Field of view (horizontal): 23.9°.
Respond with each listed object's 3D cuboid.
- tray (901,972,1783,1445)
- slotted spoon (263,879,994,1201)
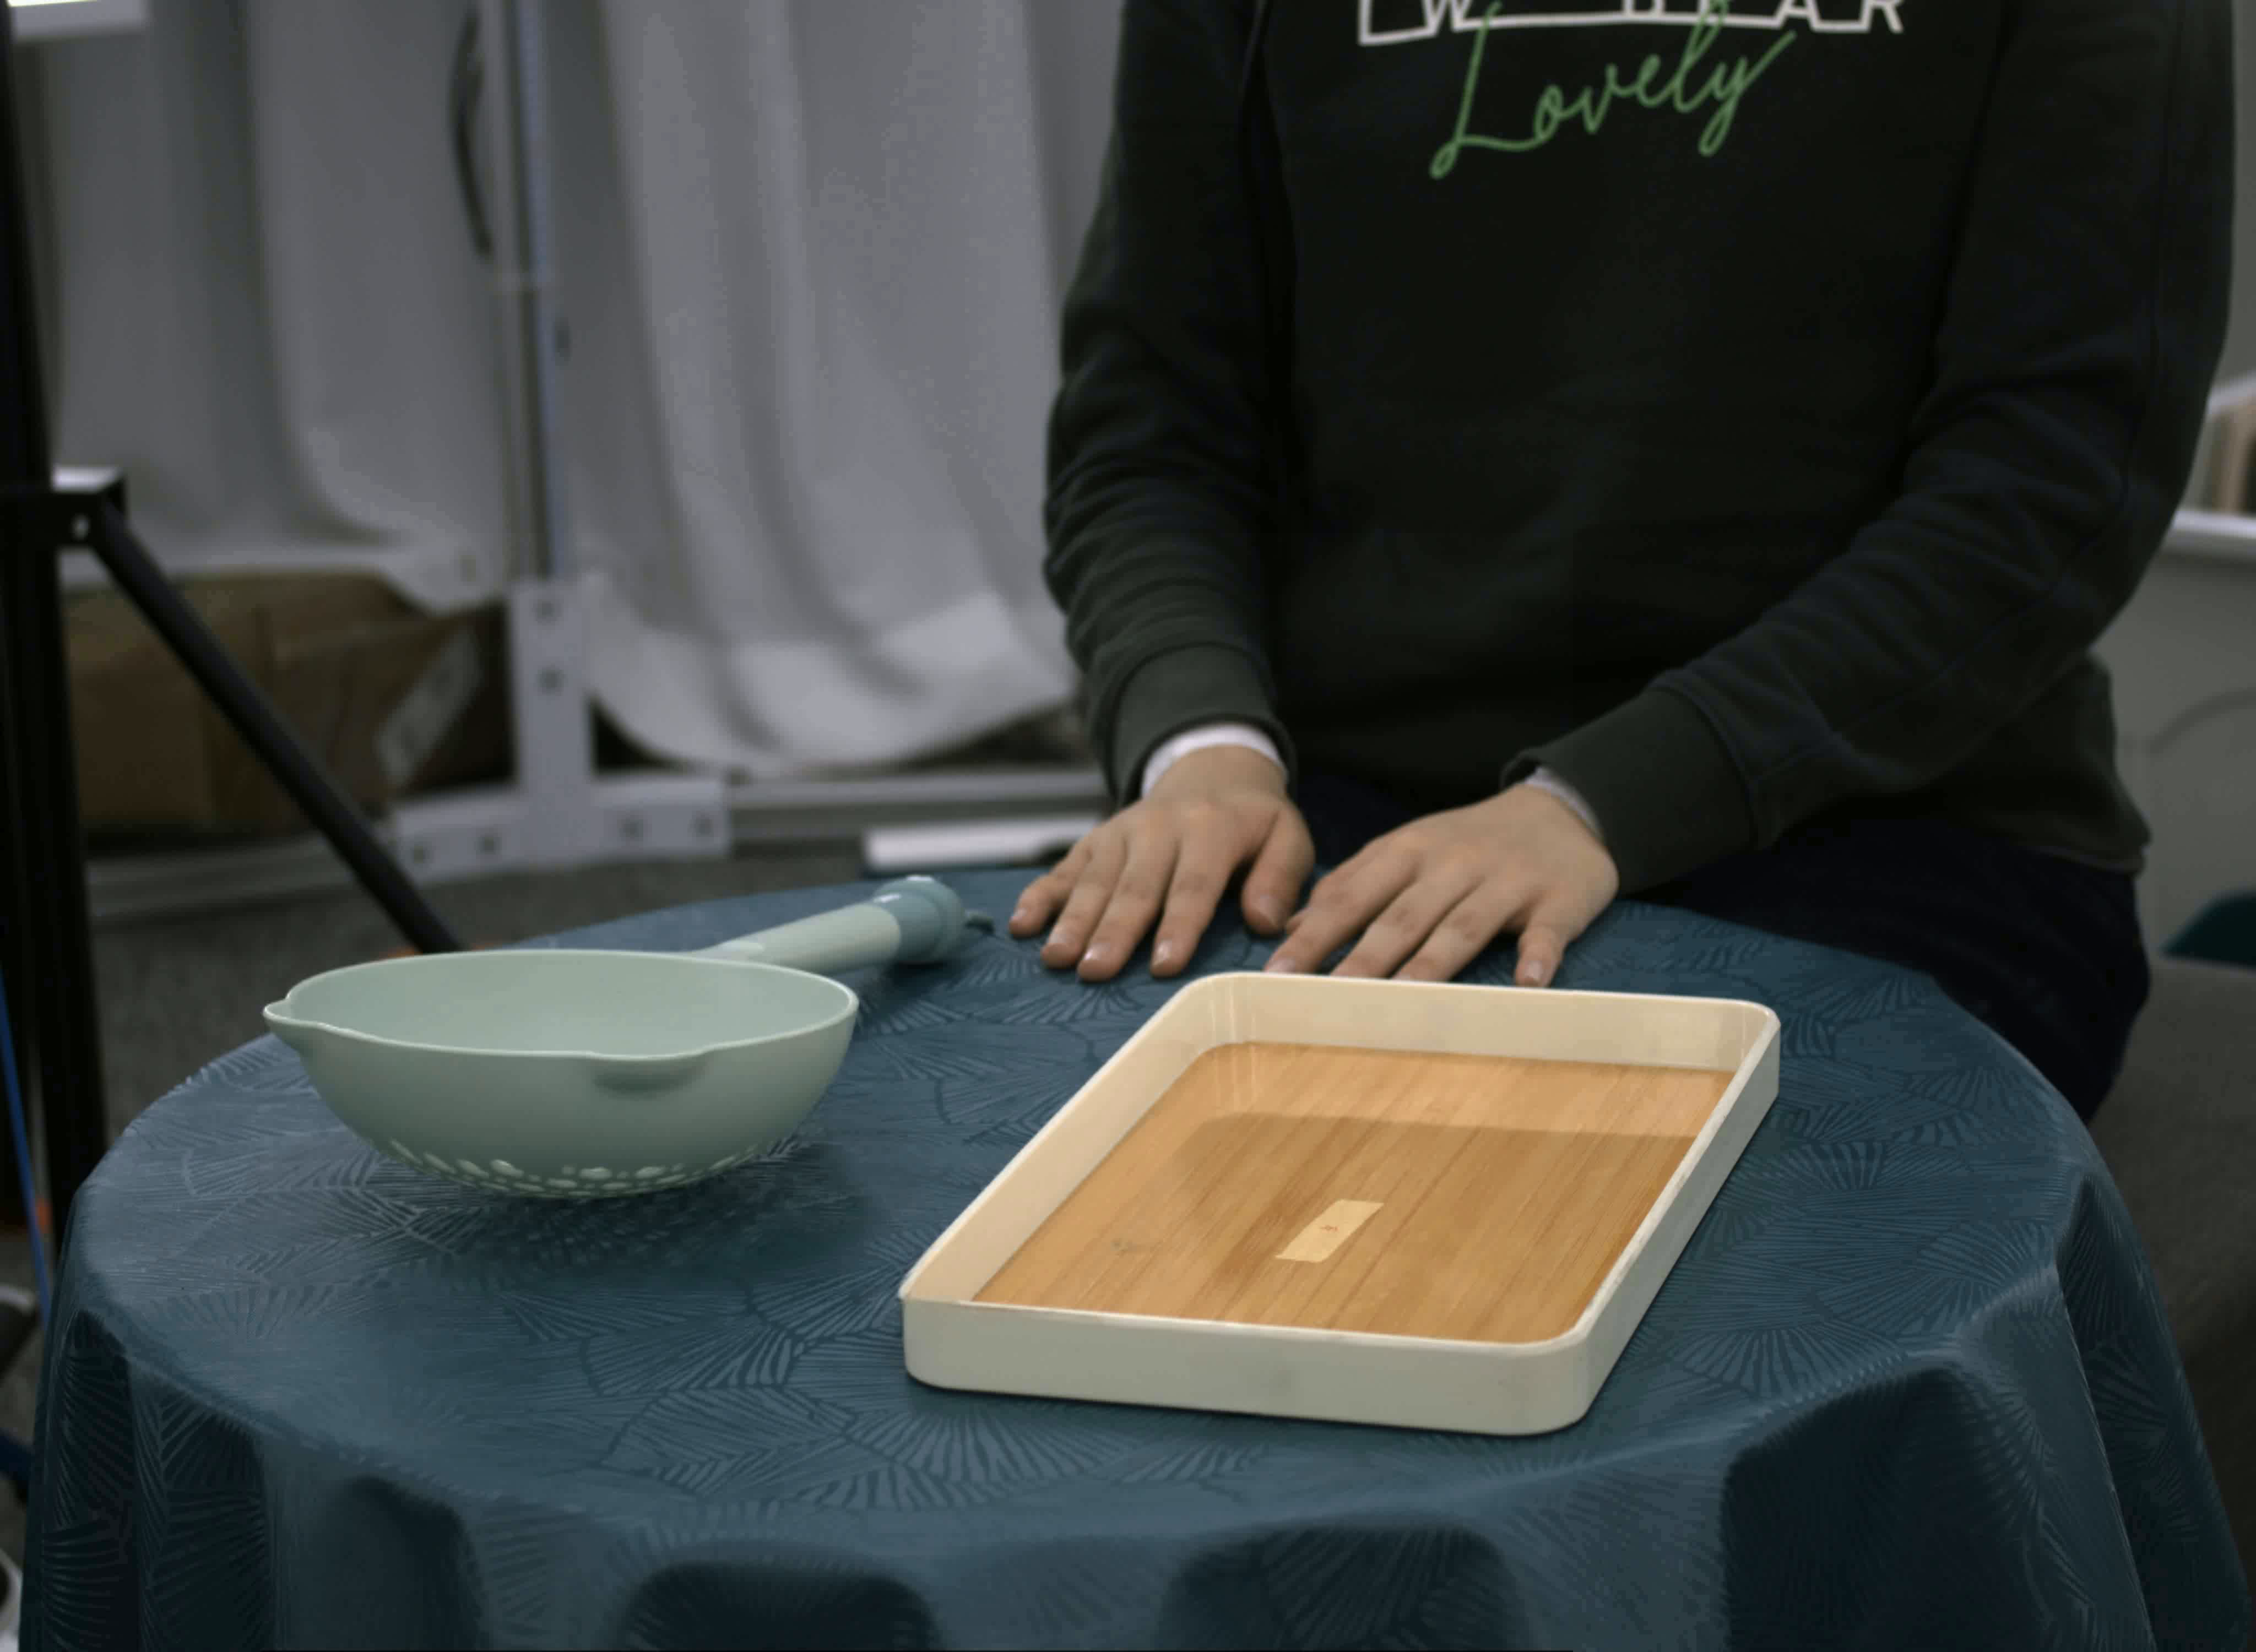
[{"bbox_3d":[0.070,0.103,1.515,0.193,0.027,0.297,3,17,18],"label":"tray"},{"bbox_3d":[-0.125,0.051,1.663,0.172,0.075,0.353,5,18,24],"label":"slotted spoon"}]
